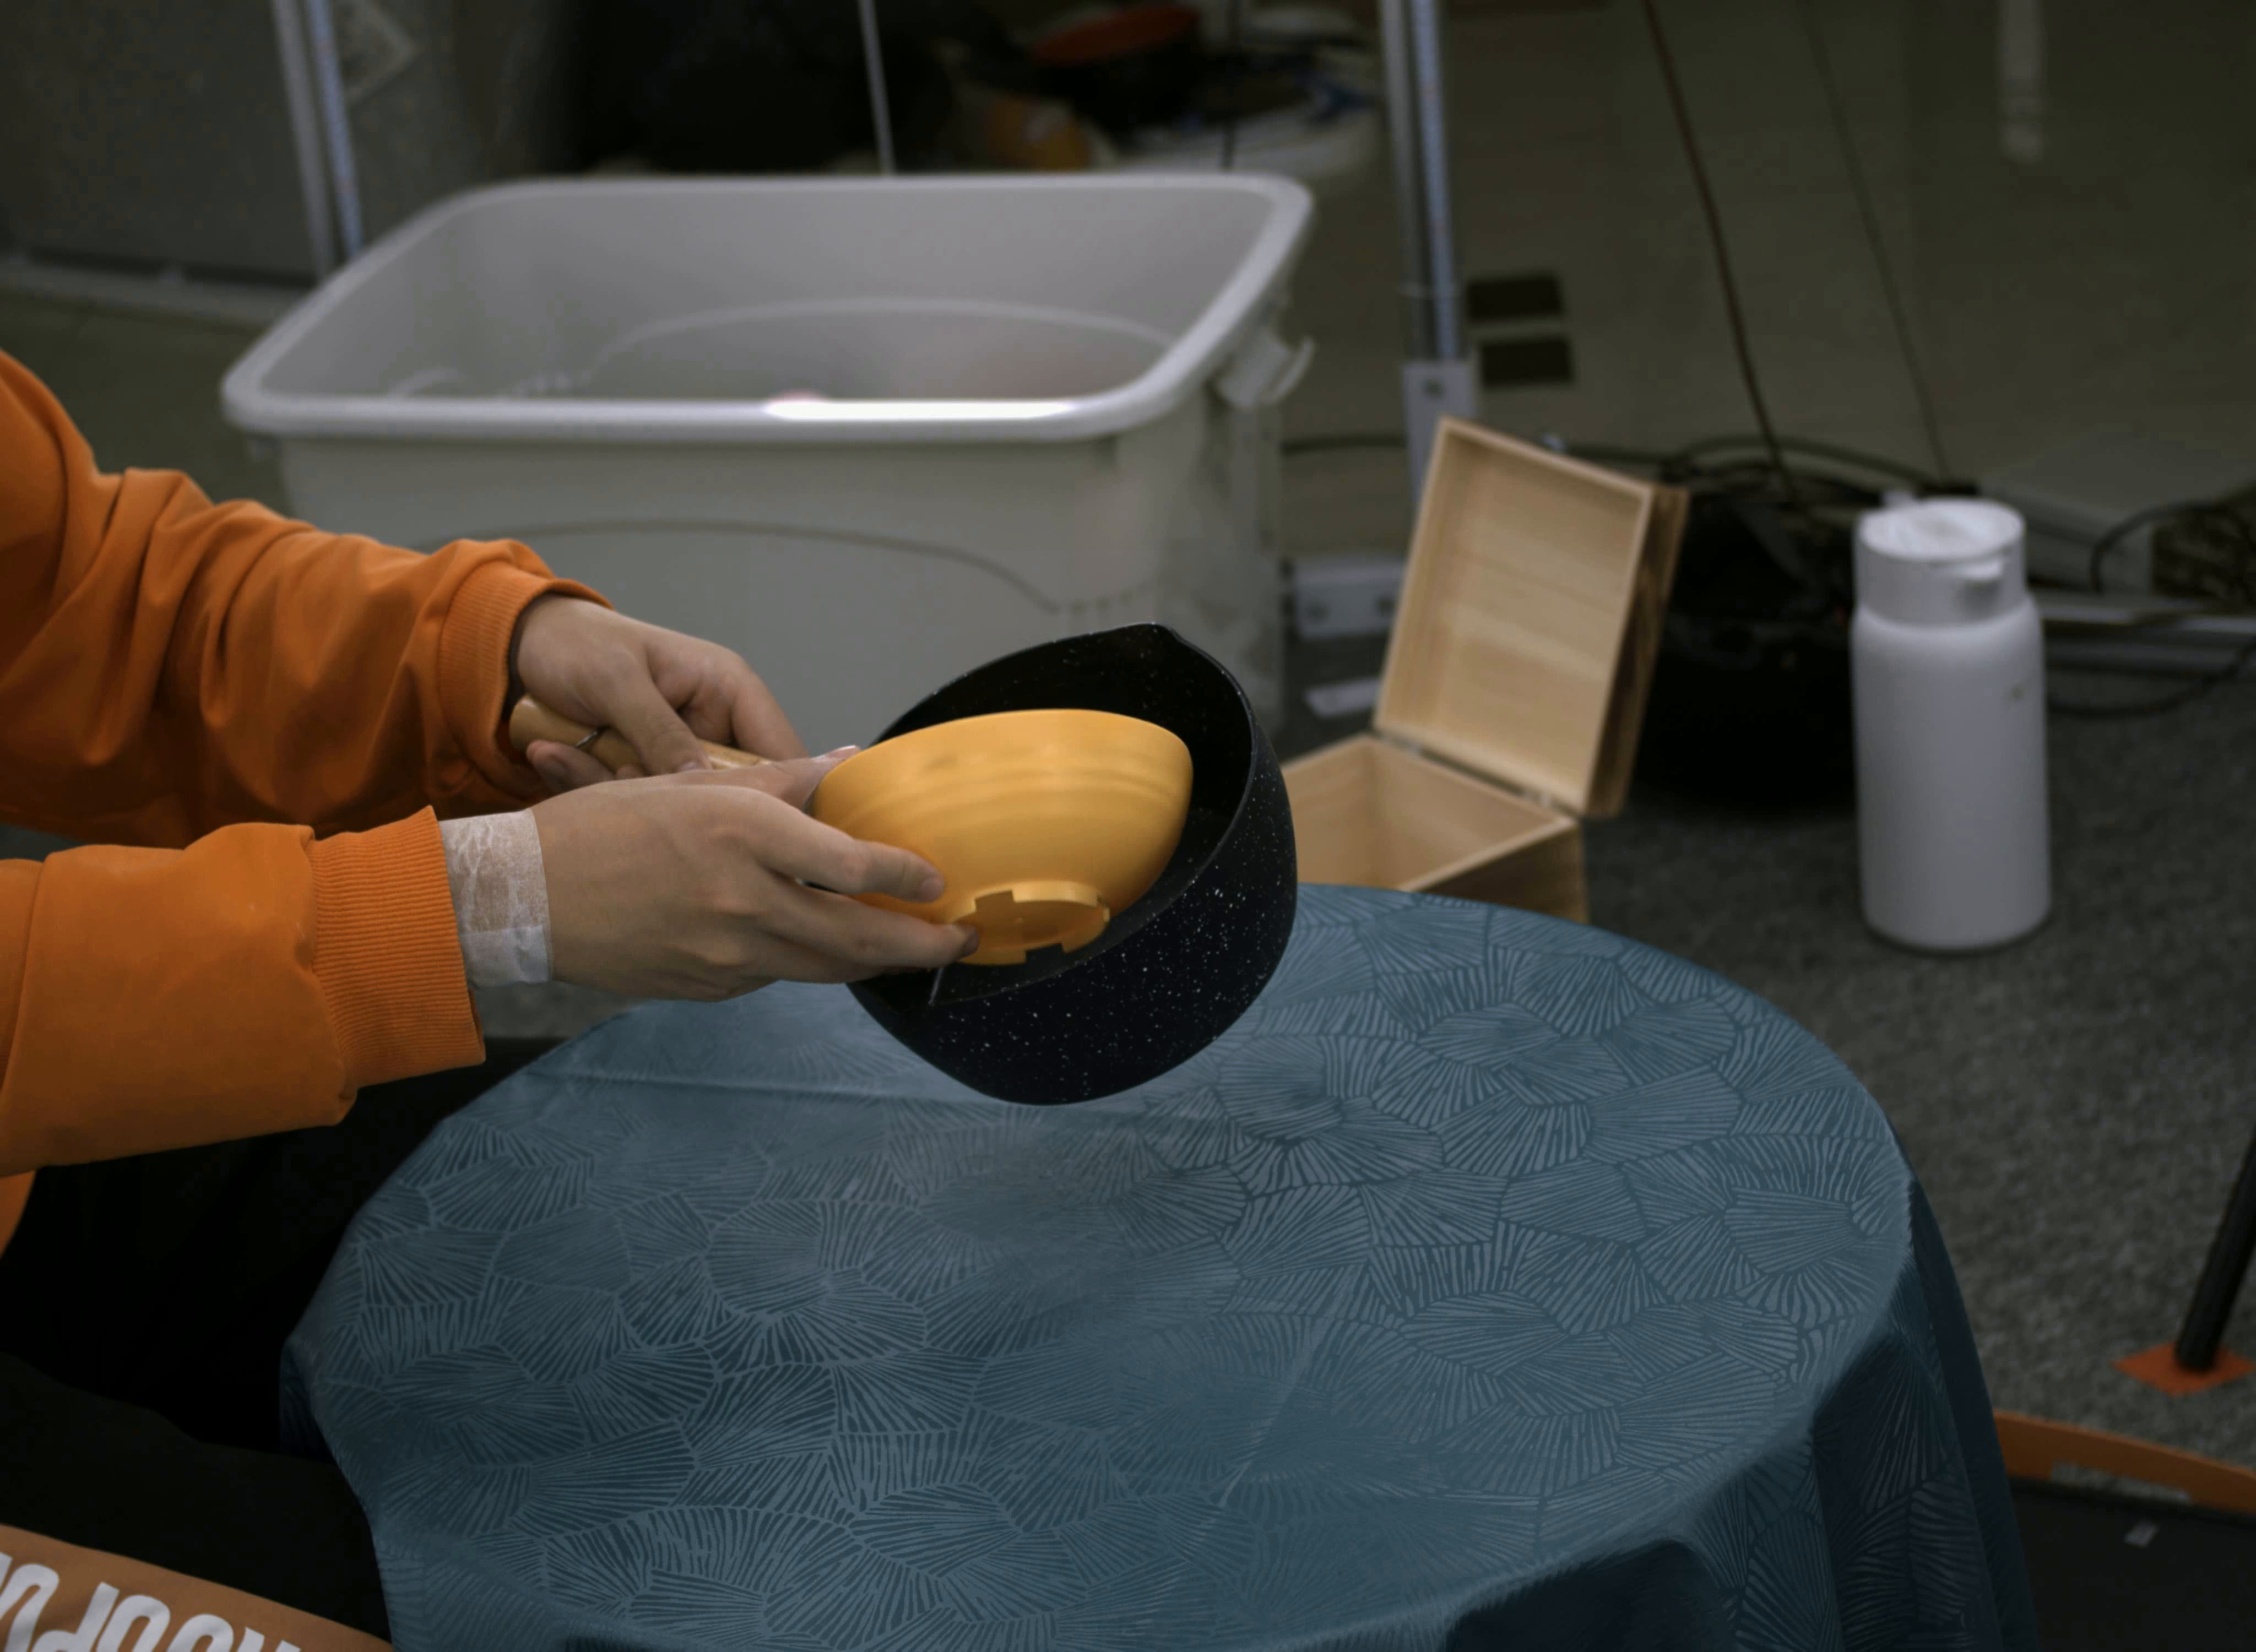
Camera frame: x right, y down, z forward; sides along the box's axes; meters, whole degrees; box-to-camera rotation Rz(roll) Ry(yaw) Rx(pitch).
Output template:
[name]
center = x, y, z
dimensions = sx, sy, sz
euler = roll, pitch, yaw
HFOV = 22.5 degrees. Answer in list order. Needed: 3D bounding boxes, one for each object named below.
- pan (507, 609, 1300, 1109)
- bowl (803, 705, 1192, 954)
[pan]
center = -0.089, 0.007, 2.162
dimensions = 0.341, 0.110, 0.205
euler = 8, 55, 35
[bowl]
center = -0.045, 0.009, 2.075
dimensions = 0.145, 0.147, 0.059
euler = -5, 71, -2
